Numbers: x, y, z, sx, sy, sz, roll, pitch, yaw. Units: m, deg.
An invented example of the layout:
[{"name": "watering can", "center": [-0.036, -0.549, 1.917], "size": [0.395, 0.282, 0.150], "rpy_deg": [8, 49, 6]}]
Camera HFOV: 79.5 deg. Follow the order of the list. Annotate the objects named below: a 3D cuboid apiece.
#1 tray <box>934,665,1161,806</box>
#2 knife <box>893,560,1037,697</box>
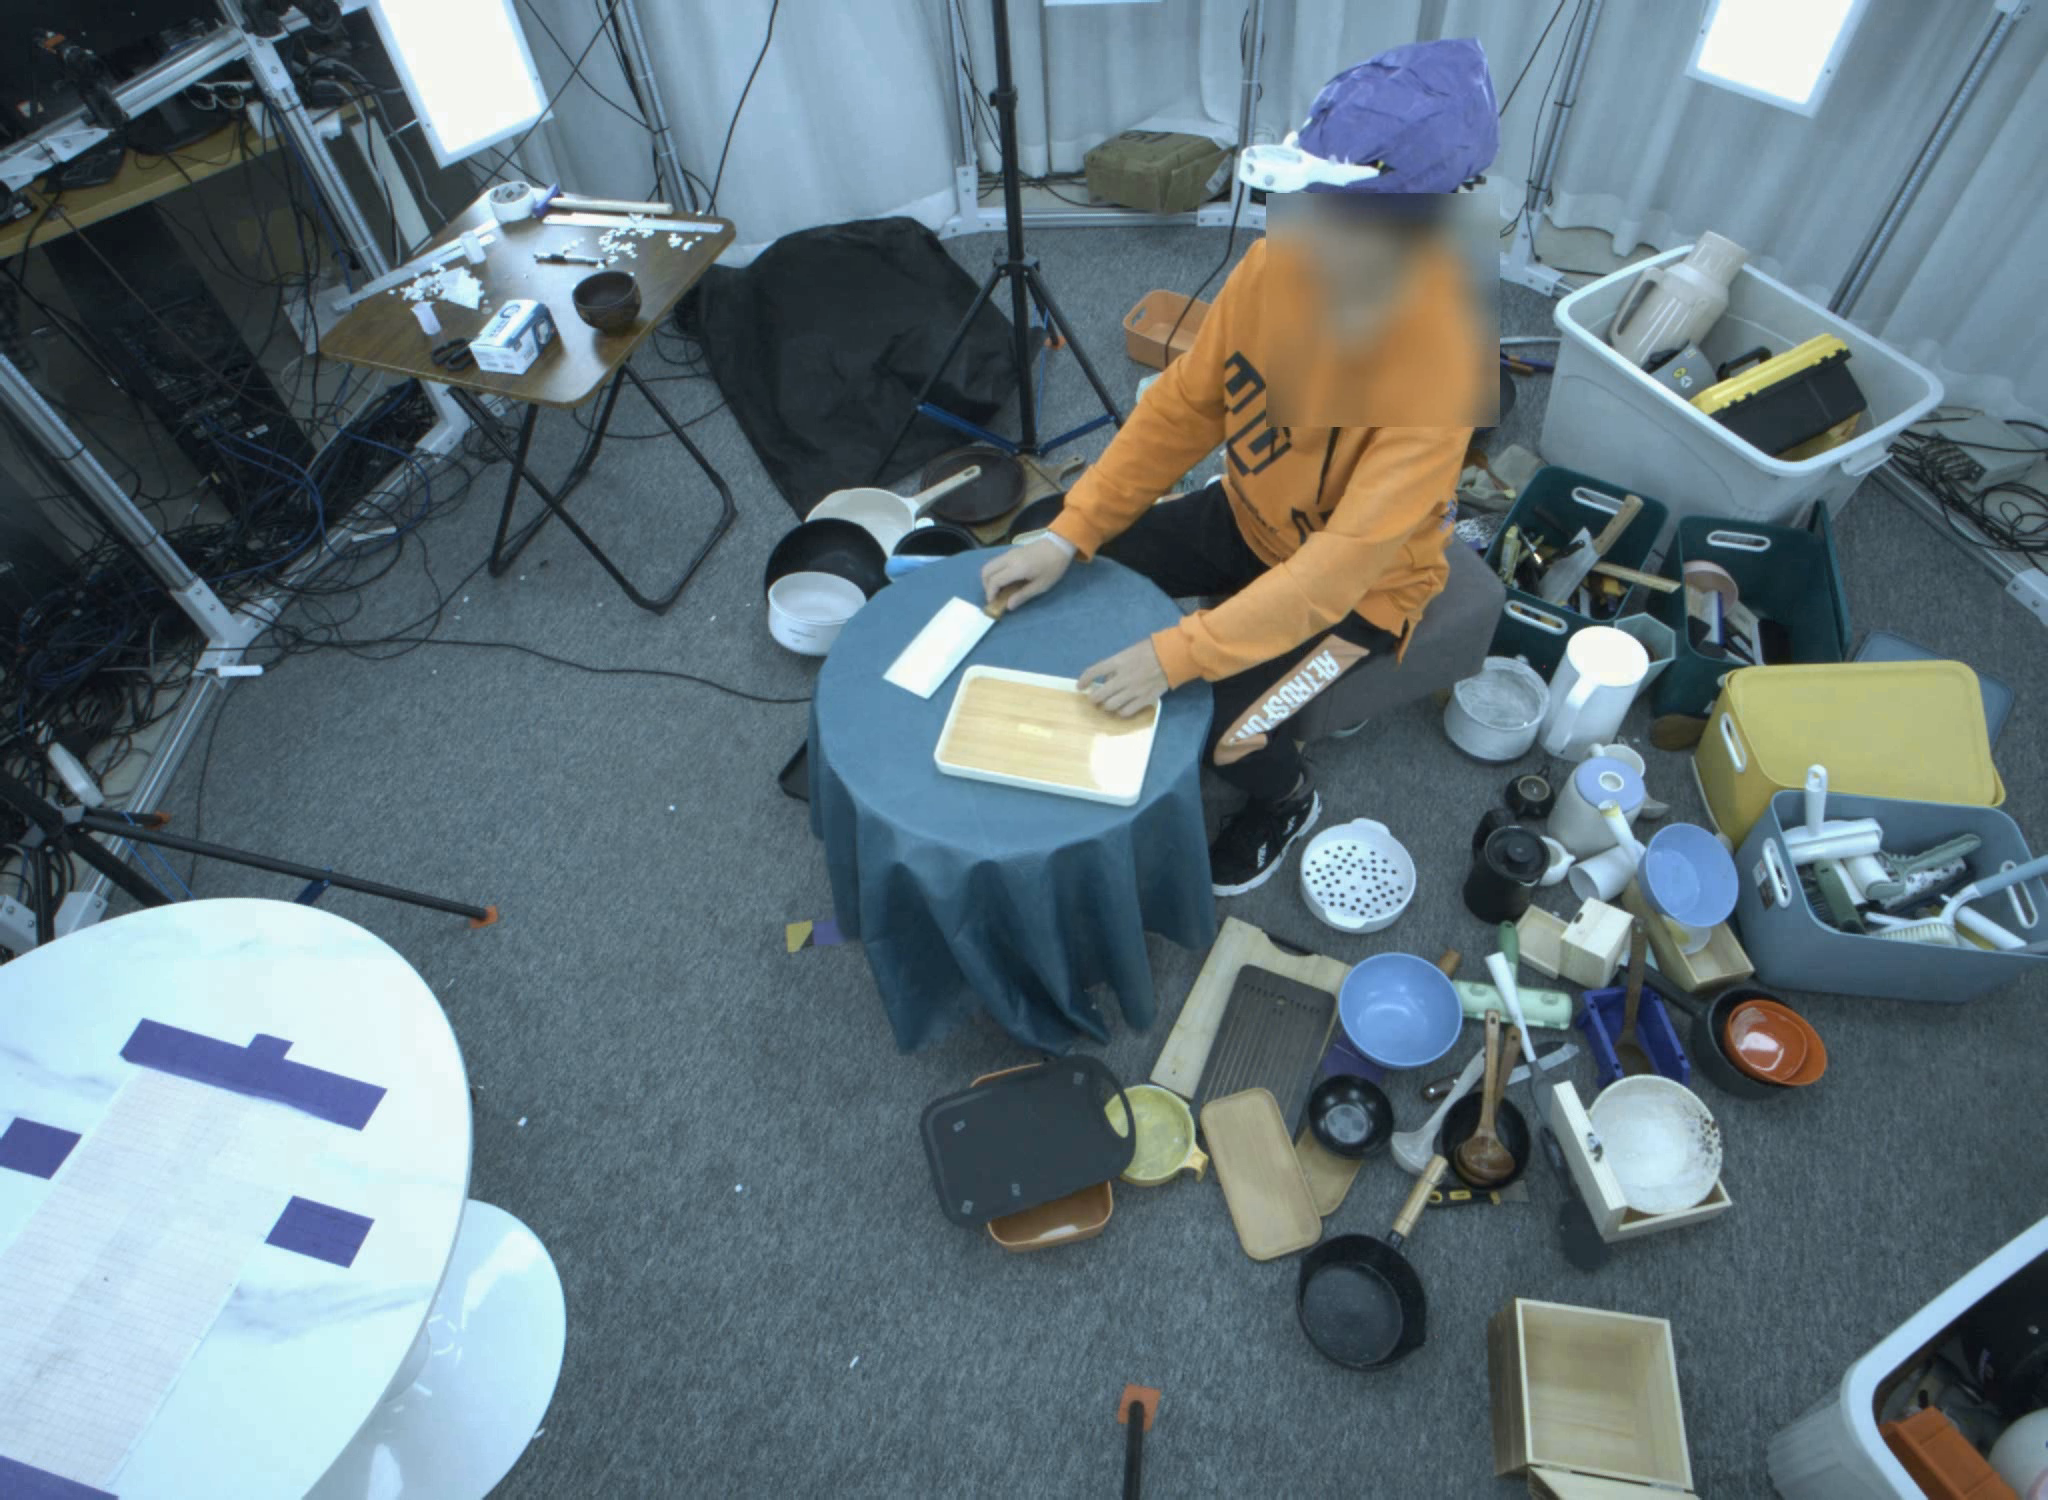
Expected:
[{"name": "tray", "center": [0.036, -0.025, 1.786], "size": [0.298, 0.028, 0.191], "rpy_deg": [10, 56, 10]}, {"name": "knife", "center": [-0.096, -0.201, 1.924], "size": [0.091, 0.021, 0.307], "rpy_deg": [27, 62, 22]}]
